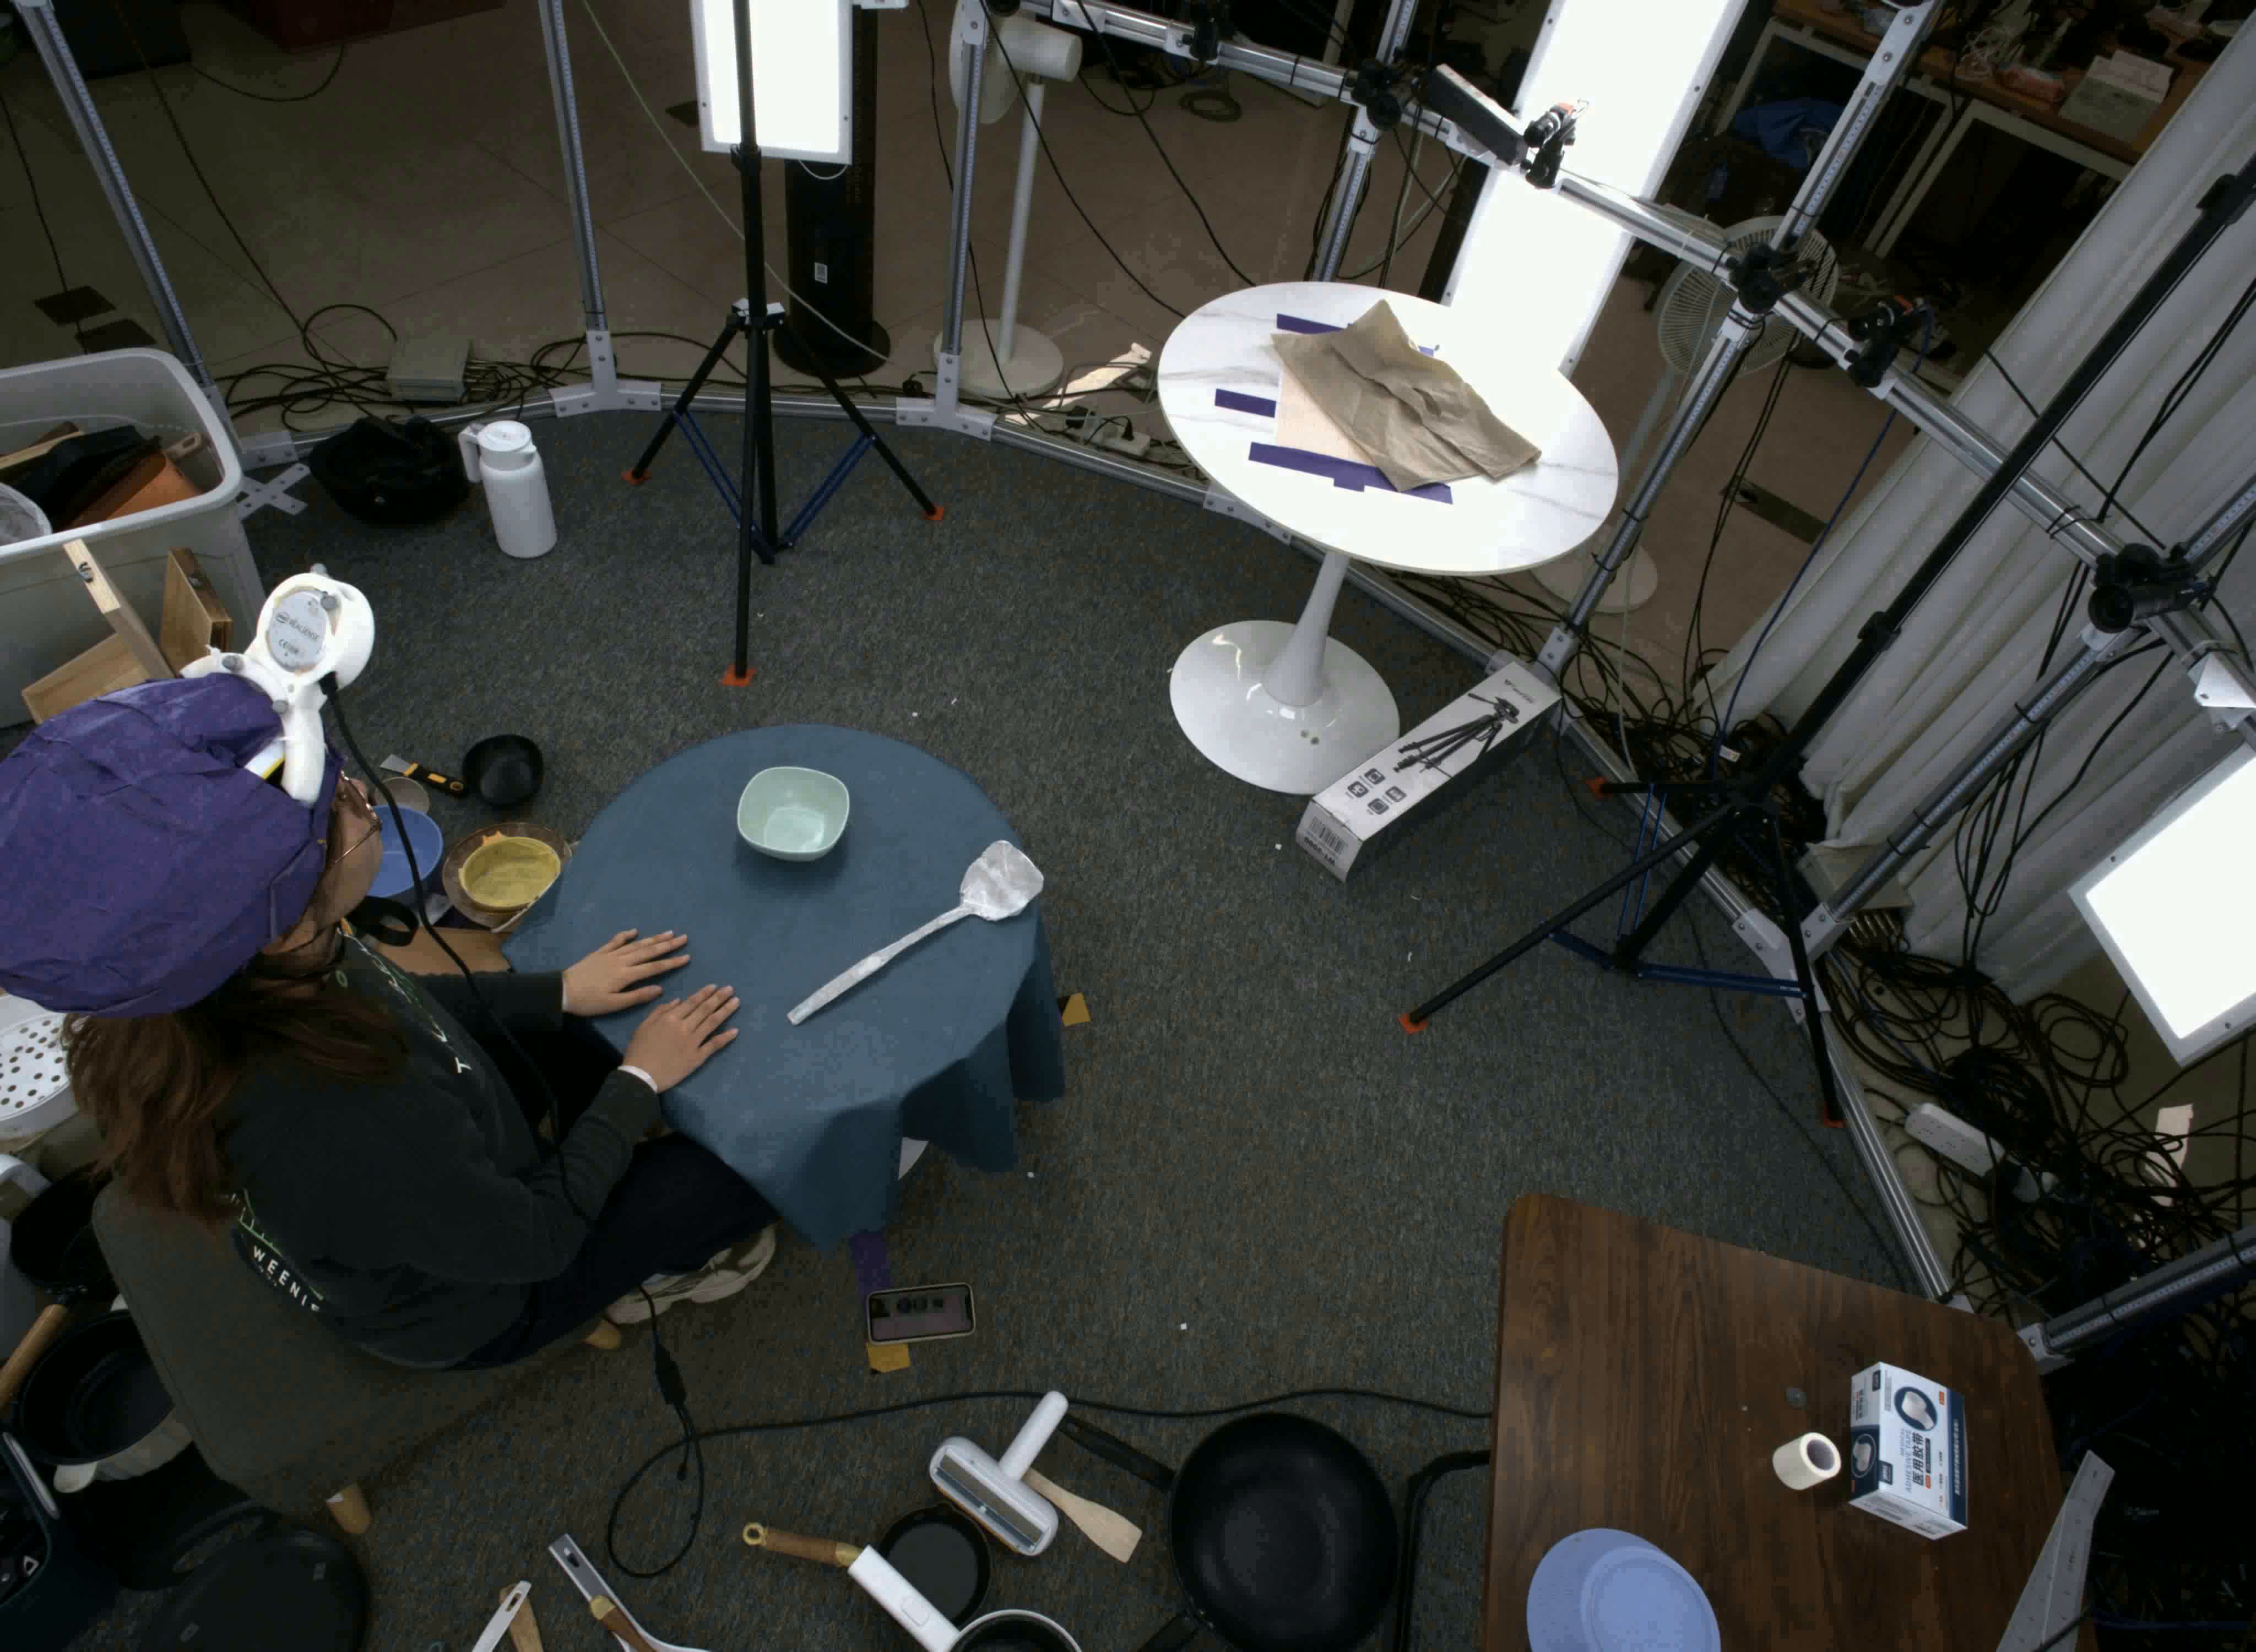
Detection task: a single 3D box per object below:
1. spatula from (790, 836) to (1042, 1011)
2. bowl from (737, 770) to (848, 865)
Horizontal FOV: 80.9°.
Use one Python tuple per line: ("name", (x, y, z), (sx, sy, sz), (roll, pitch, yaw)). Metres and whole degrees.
("spatula", (-0.268, 0.131, 1.647), (0.366, 0.045, 0.096), (-32, 68, -32))
("bowl", (-0.437, -0.003, 1.695), (0.151, 0.060, 0.148), (8, 51, -8))
